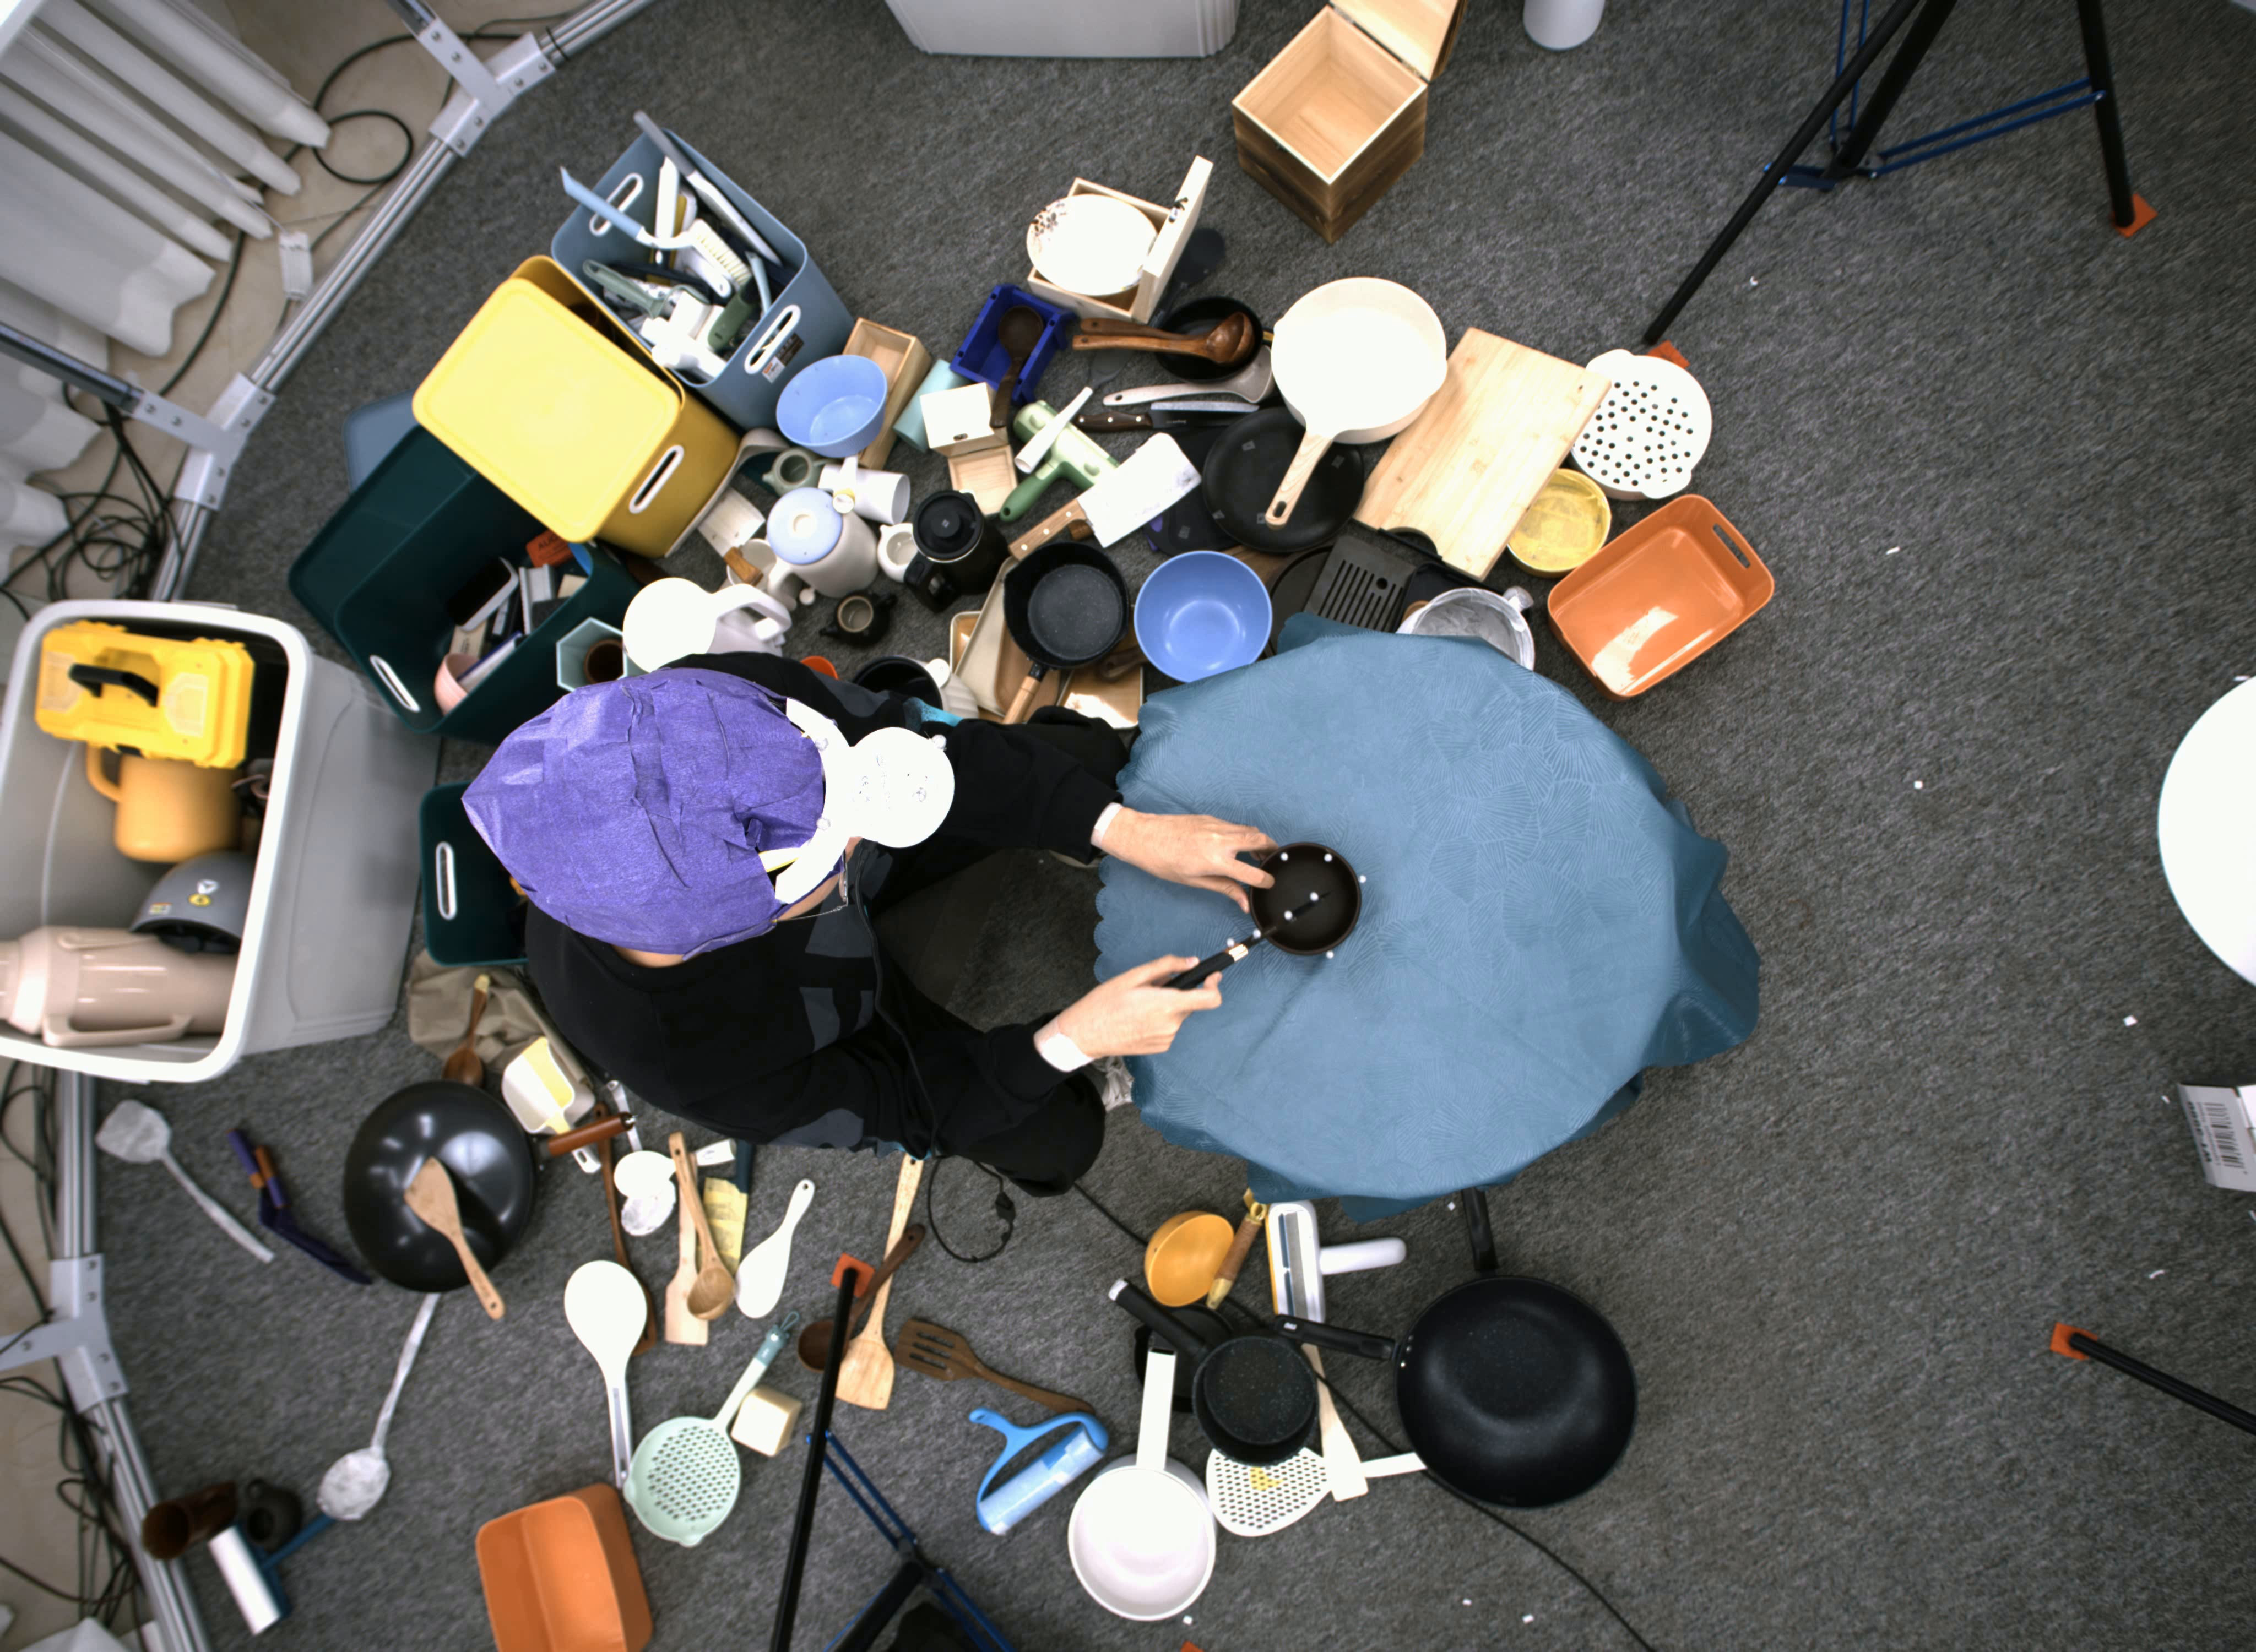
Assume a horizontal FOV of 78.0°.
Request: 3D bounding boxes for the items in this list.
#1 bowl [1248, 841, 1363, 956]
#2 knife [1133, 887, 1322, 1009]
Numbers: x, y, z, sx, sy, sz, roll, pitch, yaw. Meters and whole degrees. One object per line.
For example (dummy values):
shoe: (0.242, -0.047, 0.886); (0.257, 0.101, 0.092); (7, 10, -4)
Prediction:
bowl: (0.185, 0.076, 1.437); (0.118, 0.070, 0.117); (-1, 84, 12)
knife: (0.100, 0.115, 1.337); (0.223, 0.017, 0.026); (-29, 42, -15)
